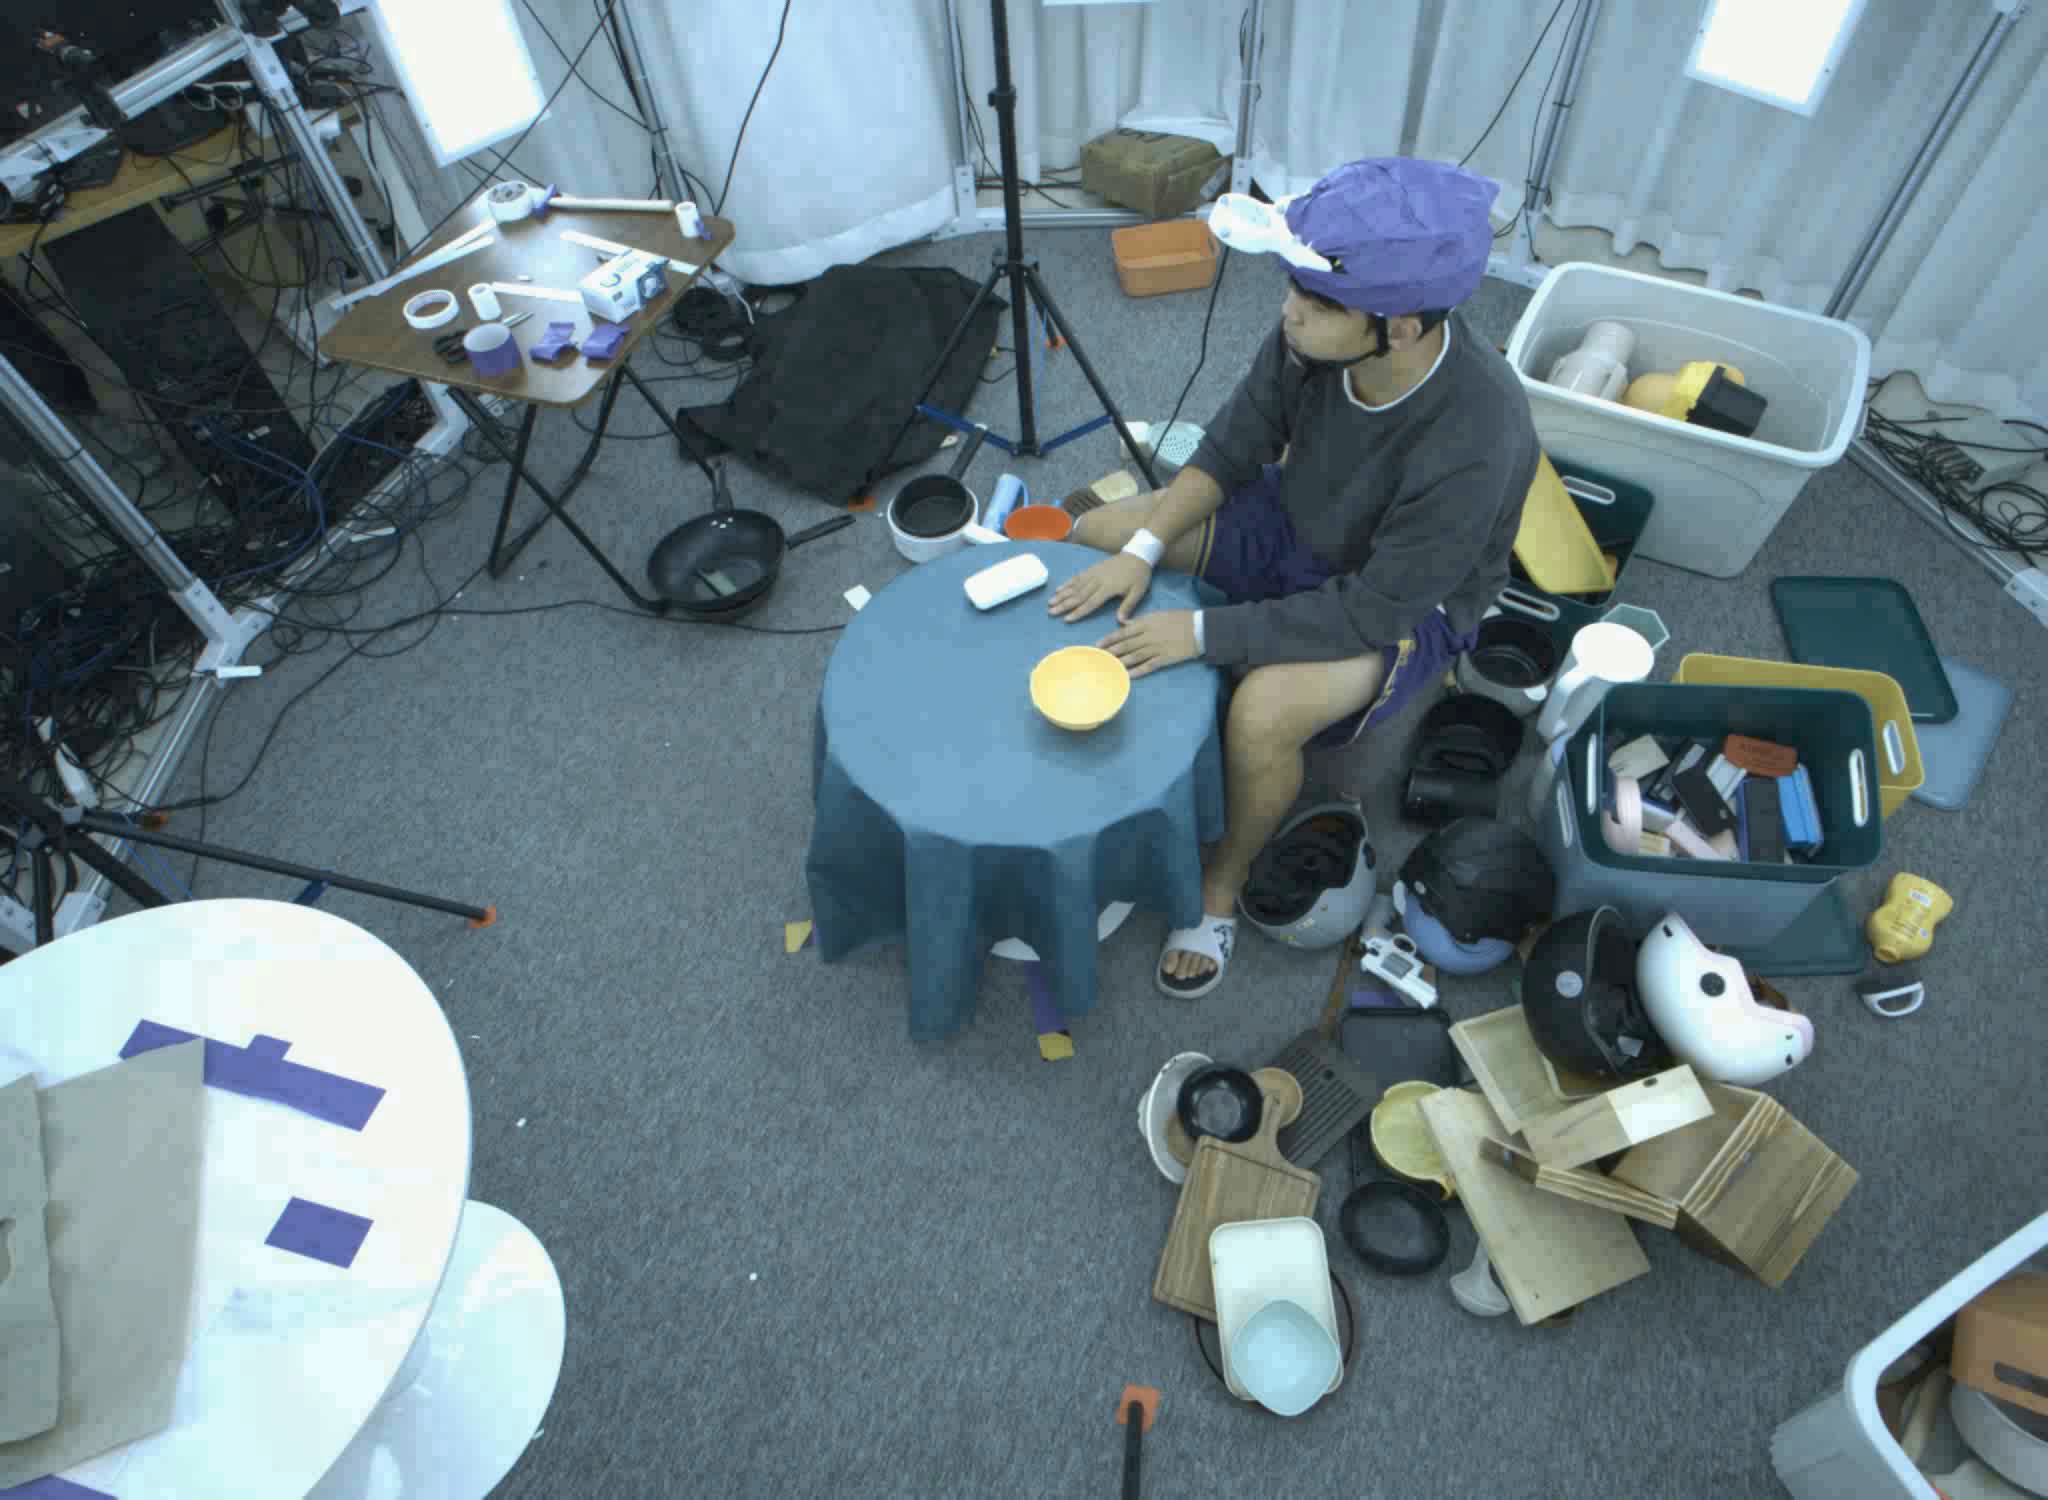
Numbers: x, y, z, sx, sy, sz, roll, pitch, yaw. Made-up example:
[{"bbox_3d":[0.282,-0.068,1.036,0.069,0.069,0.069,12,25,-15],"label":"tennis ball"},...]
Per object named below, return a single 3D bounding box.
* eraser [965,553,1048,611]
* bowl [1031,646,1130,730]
[{"bbox_3d":[-0.027,-0.269,1.963,0.132,0.035,0.062,-25,58,-14],"label":"eraser"},{"bbox_3d":[0.082,-0.079,1.810,0.145,0.060,0.144,1,55,0],"label":"bowl"}]
